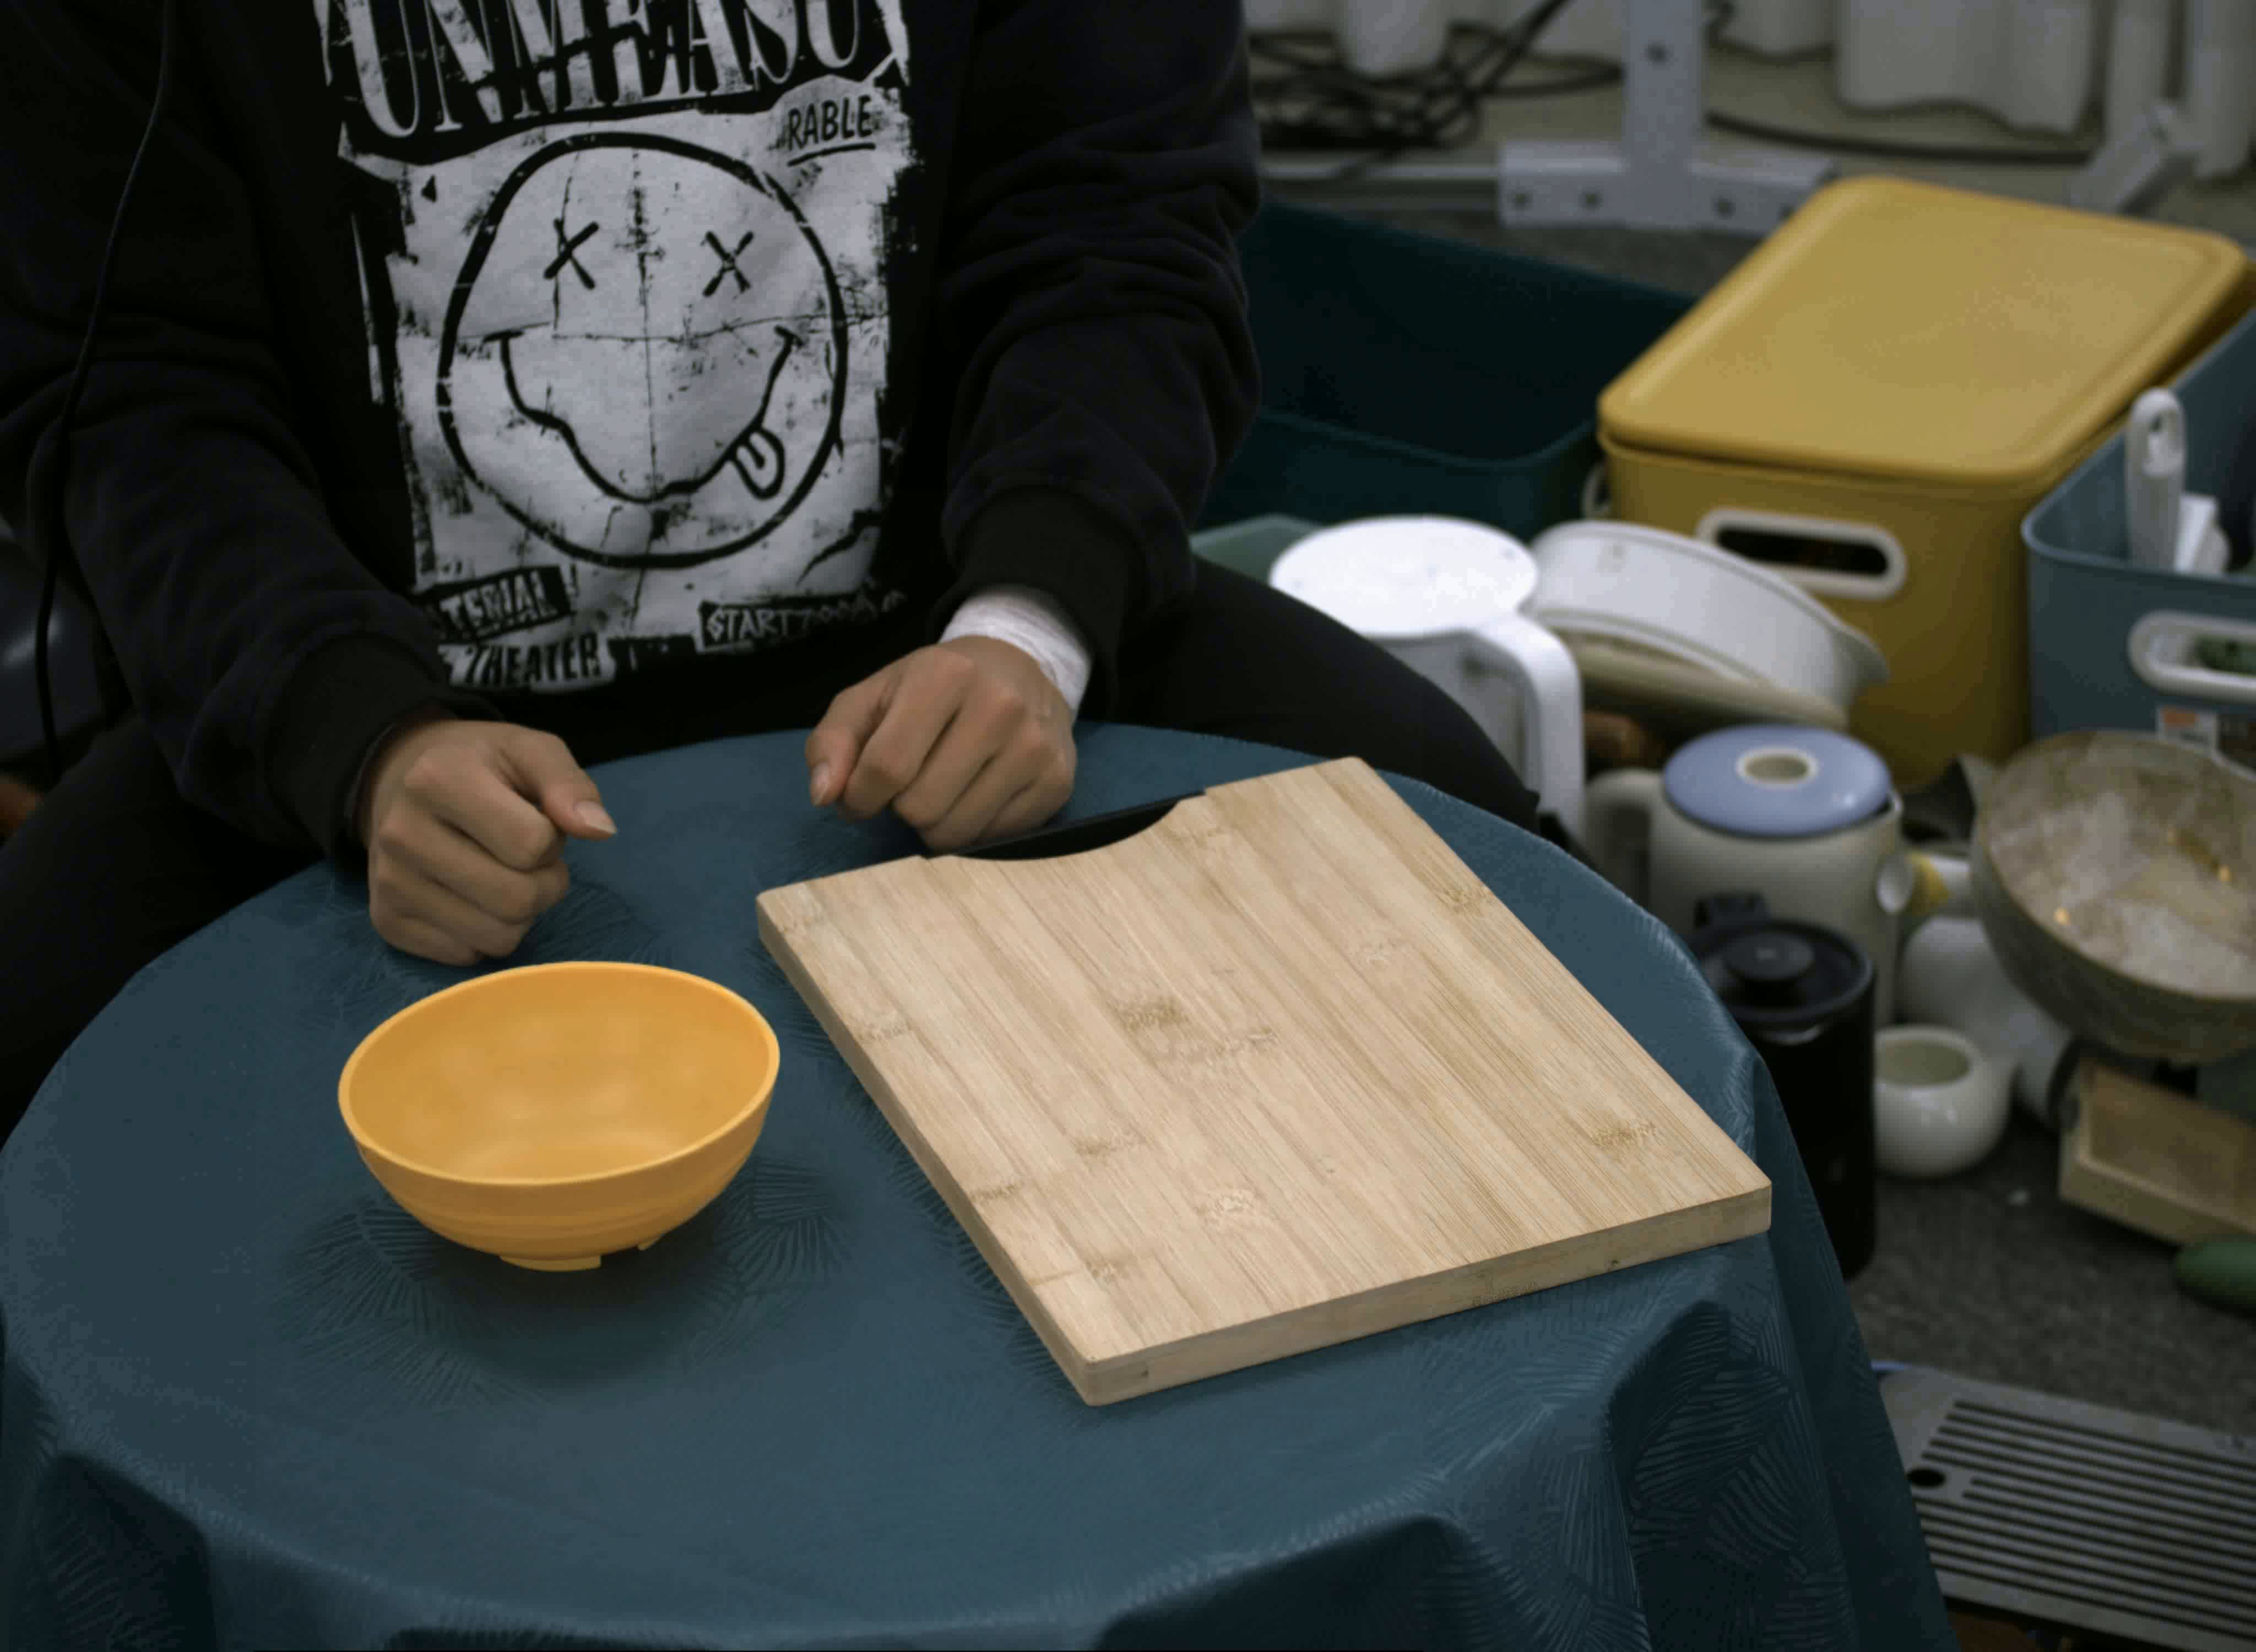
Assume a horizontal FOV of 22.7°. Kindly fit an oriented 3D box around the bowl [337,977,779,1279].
[{"bbox_3d":[-0.186,0.108,1.847,0.144,0.059,0.147,-1,25,1],"label":"bowl"}]

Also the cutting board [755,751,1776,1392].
[{"bbox_3d":[0.037,0.077,1.927,0.251,0.023,0.351,-13,29,-19],"label":"cutting board"}]
